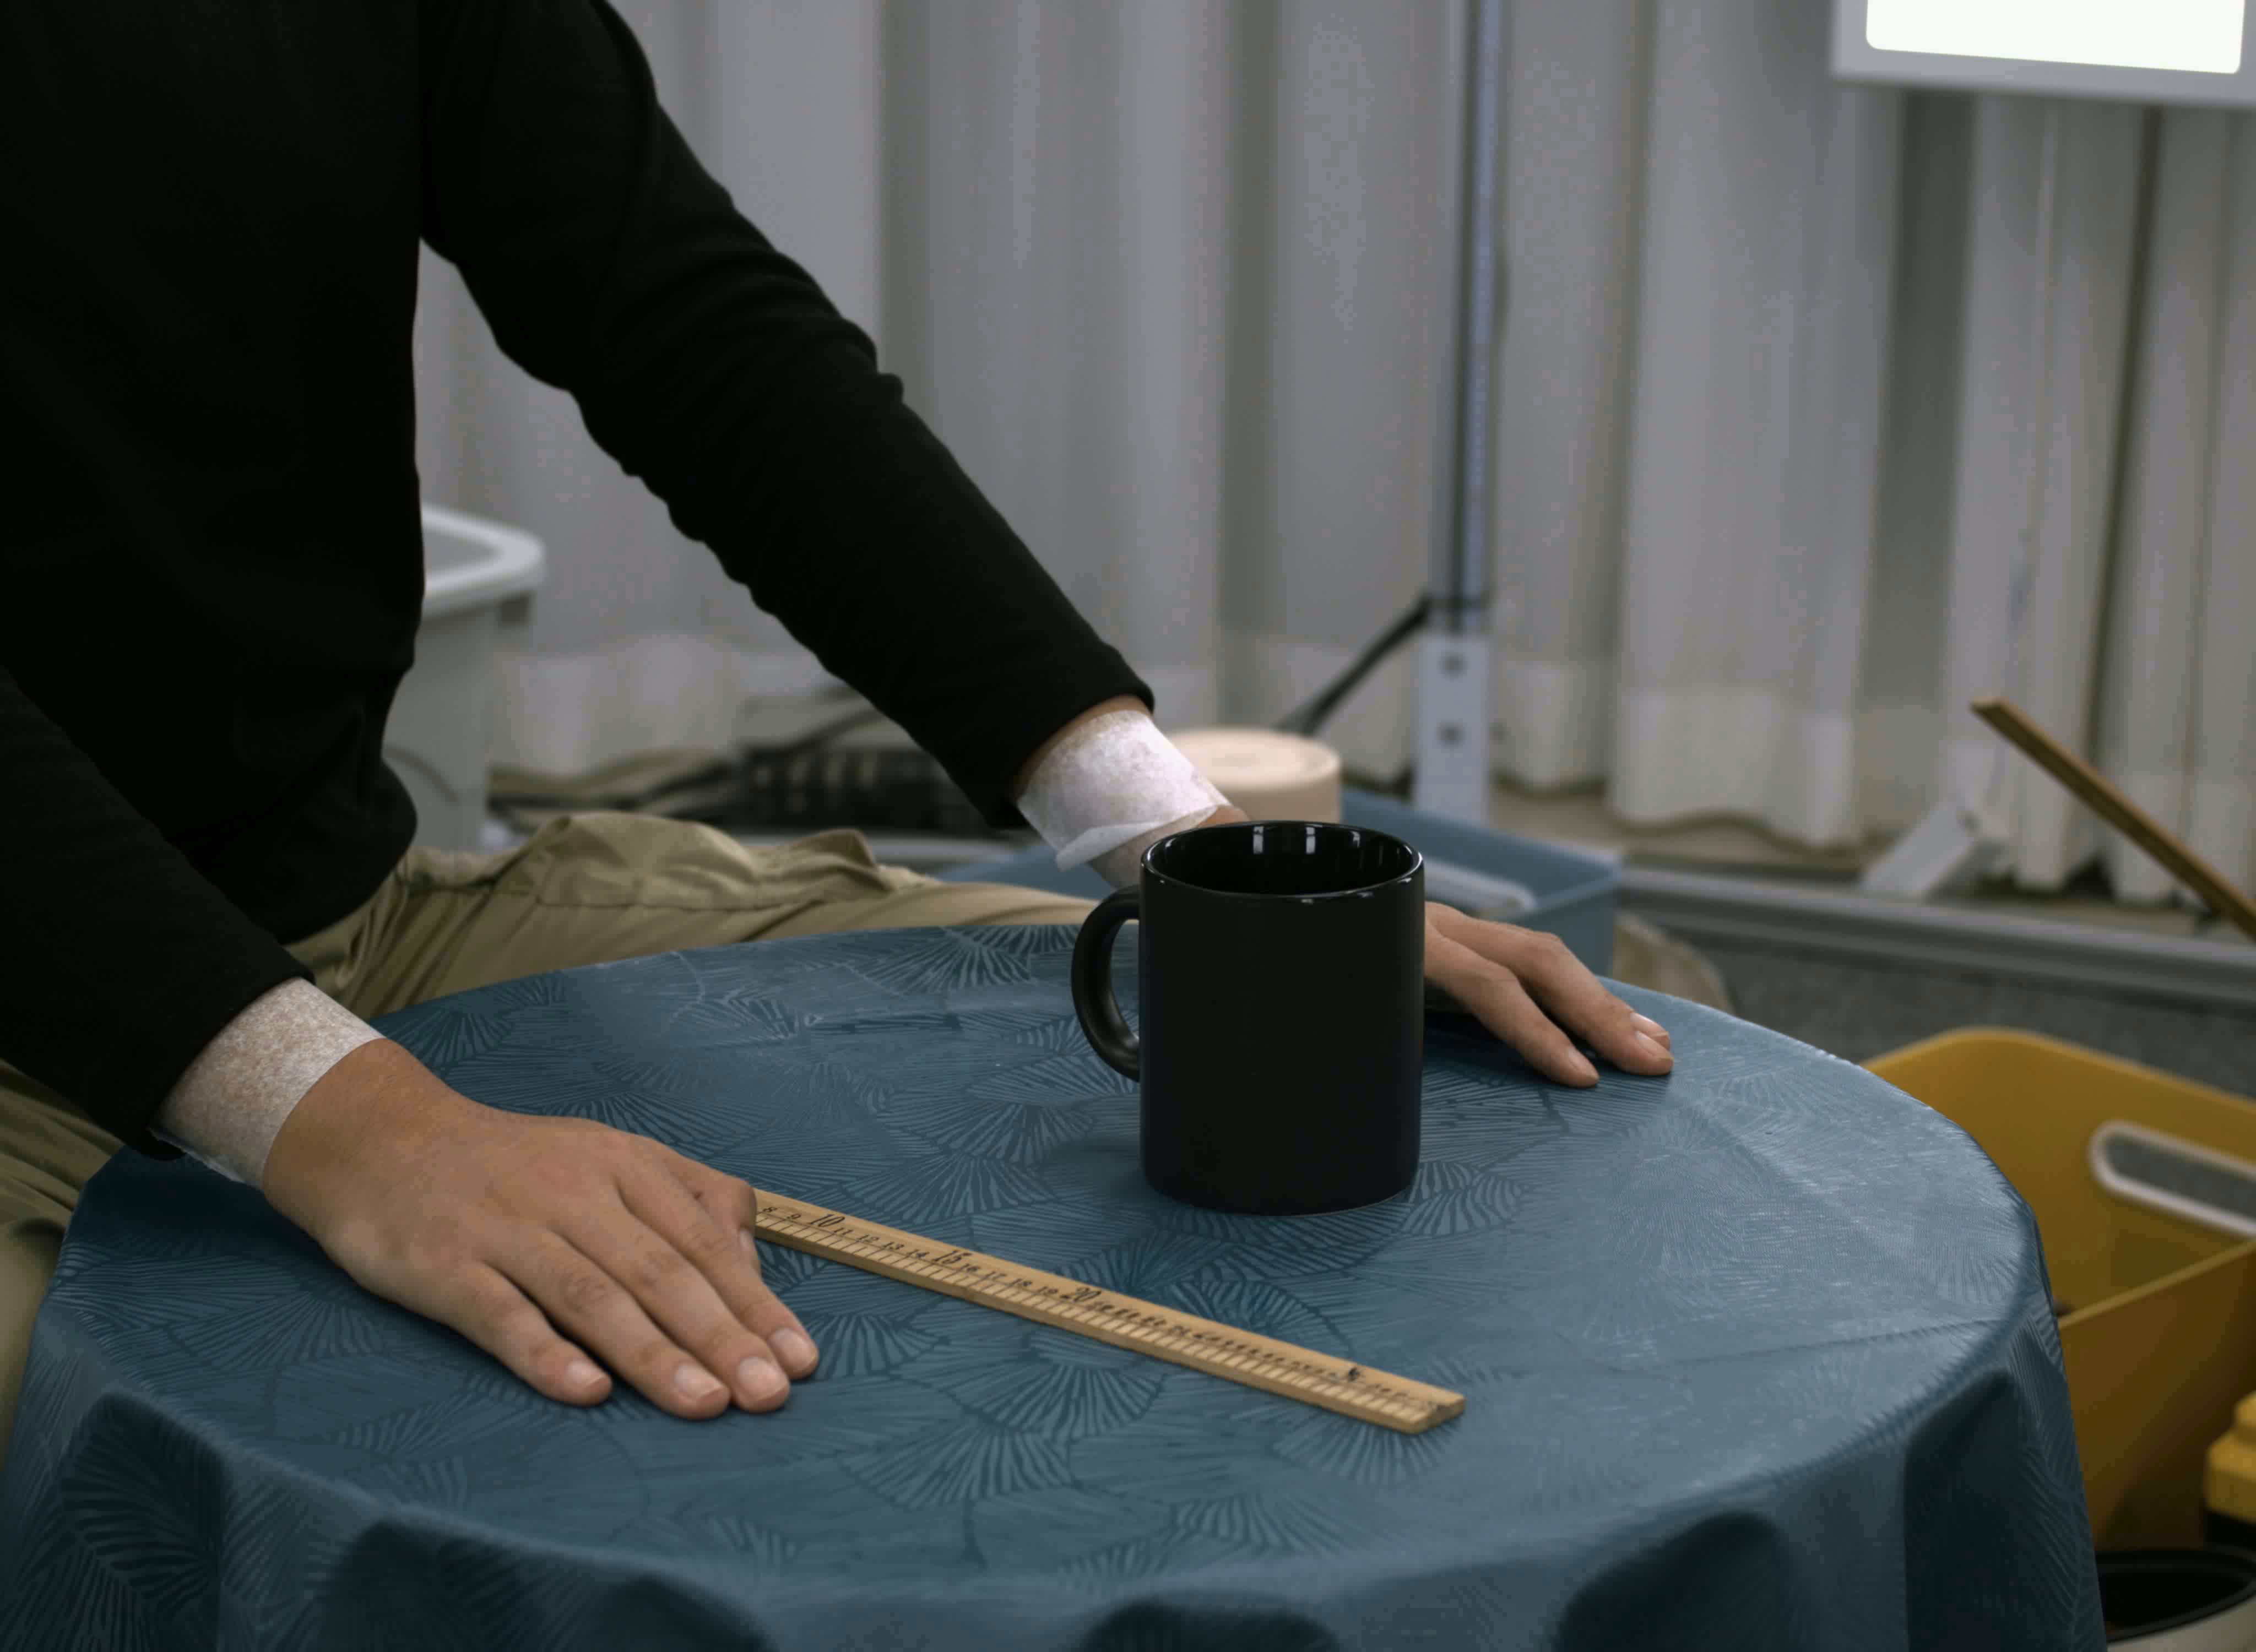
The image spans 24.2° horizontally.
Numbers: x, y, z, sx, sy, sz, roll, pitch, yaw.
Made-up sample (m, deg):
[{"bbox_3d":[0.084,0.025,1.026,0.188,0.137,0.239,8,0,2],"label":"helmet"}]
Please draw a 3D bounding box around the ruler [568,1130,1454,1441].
[{"bbox_3d":[-0.042,0.129,1.539,0.327,0.022,0.027,14,16,39],"label":"ruler"}]

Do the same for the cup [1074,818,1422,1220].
[{"bbox_3d":[0.033,0.056,1.635,0.122,0.106,0.089,12,22,37],"label":"cup"}]
